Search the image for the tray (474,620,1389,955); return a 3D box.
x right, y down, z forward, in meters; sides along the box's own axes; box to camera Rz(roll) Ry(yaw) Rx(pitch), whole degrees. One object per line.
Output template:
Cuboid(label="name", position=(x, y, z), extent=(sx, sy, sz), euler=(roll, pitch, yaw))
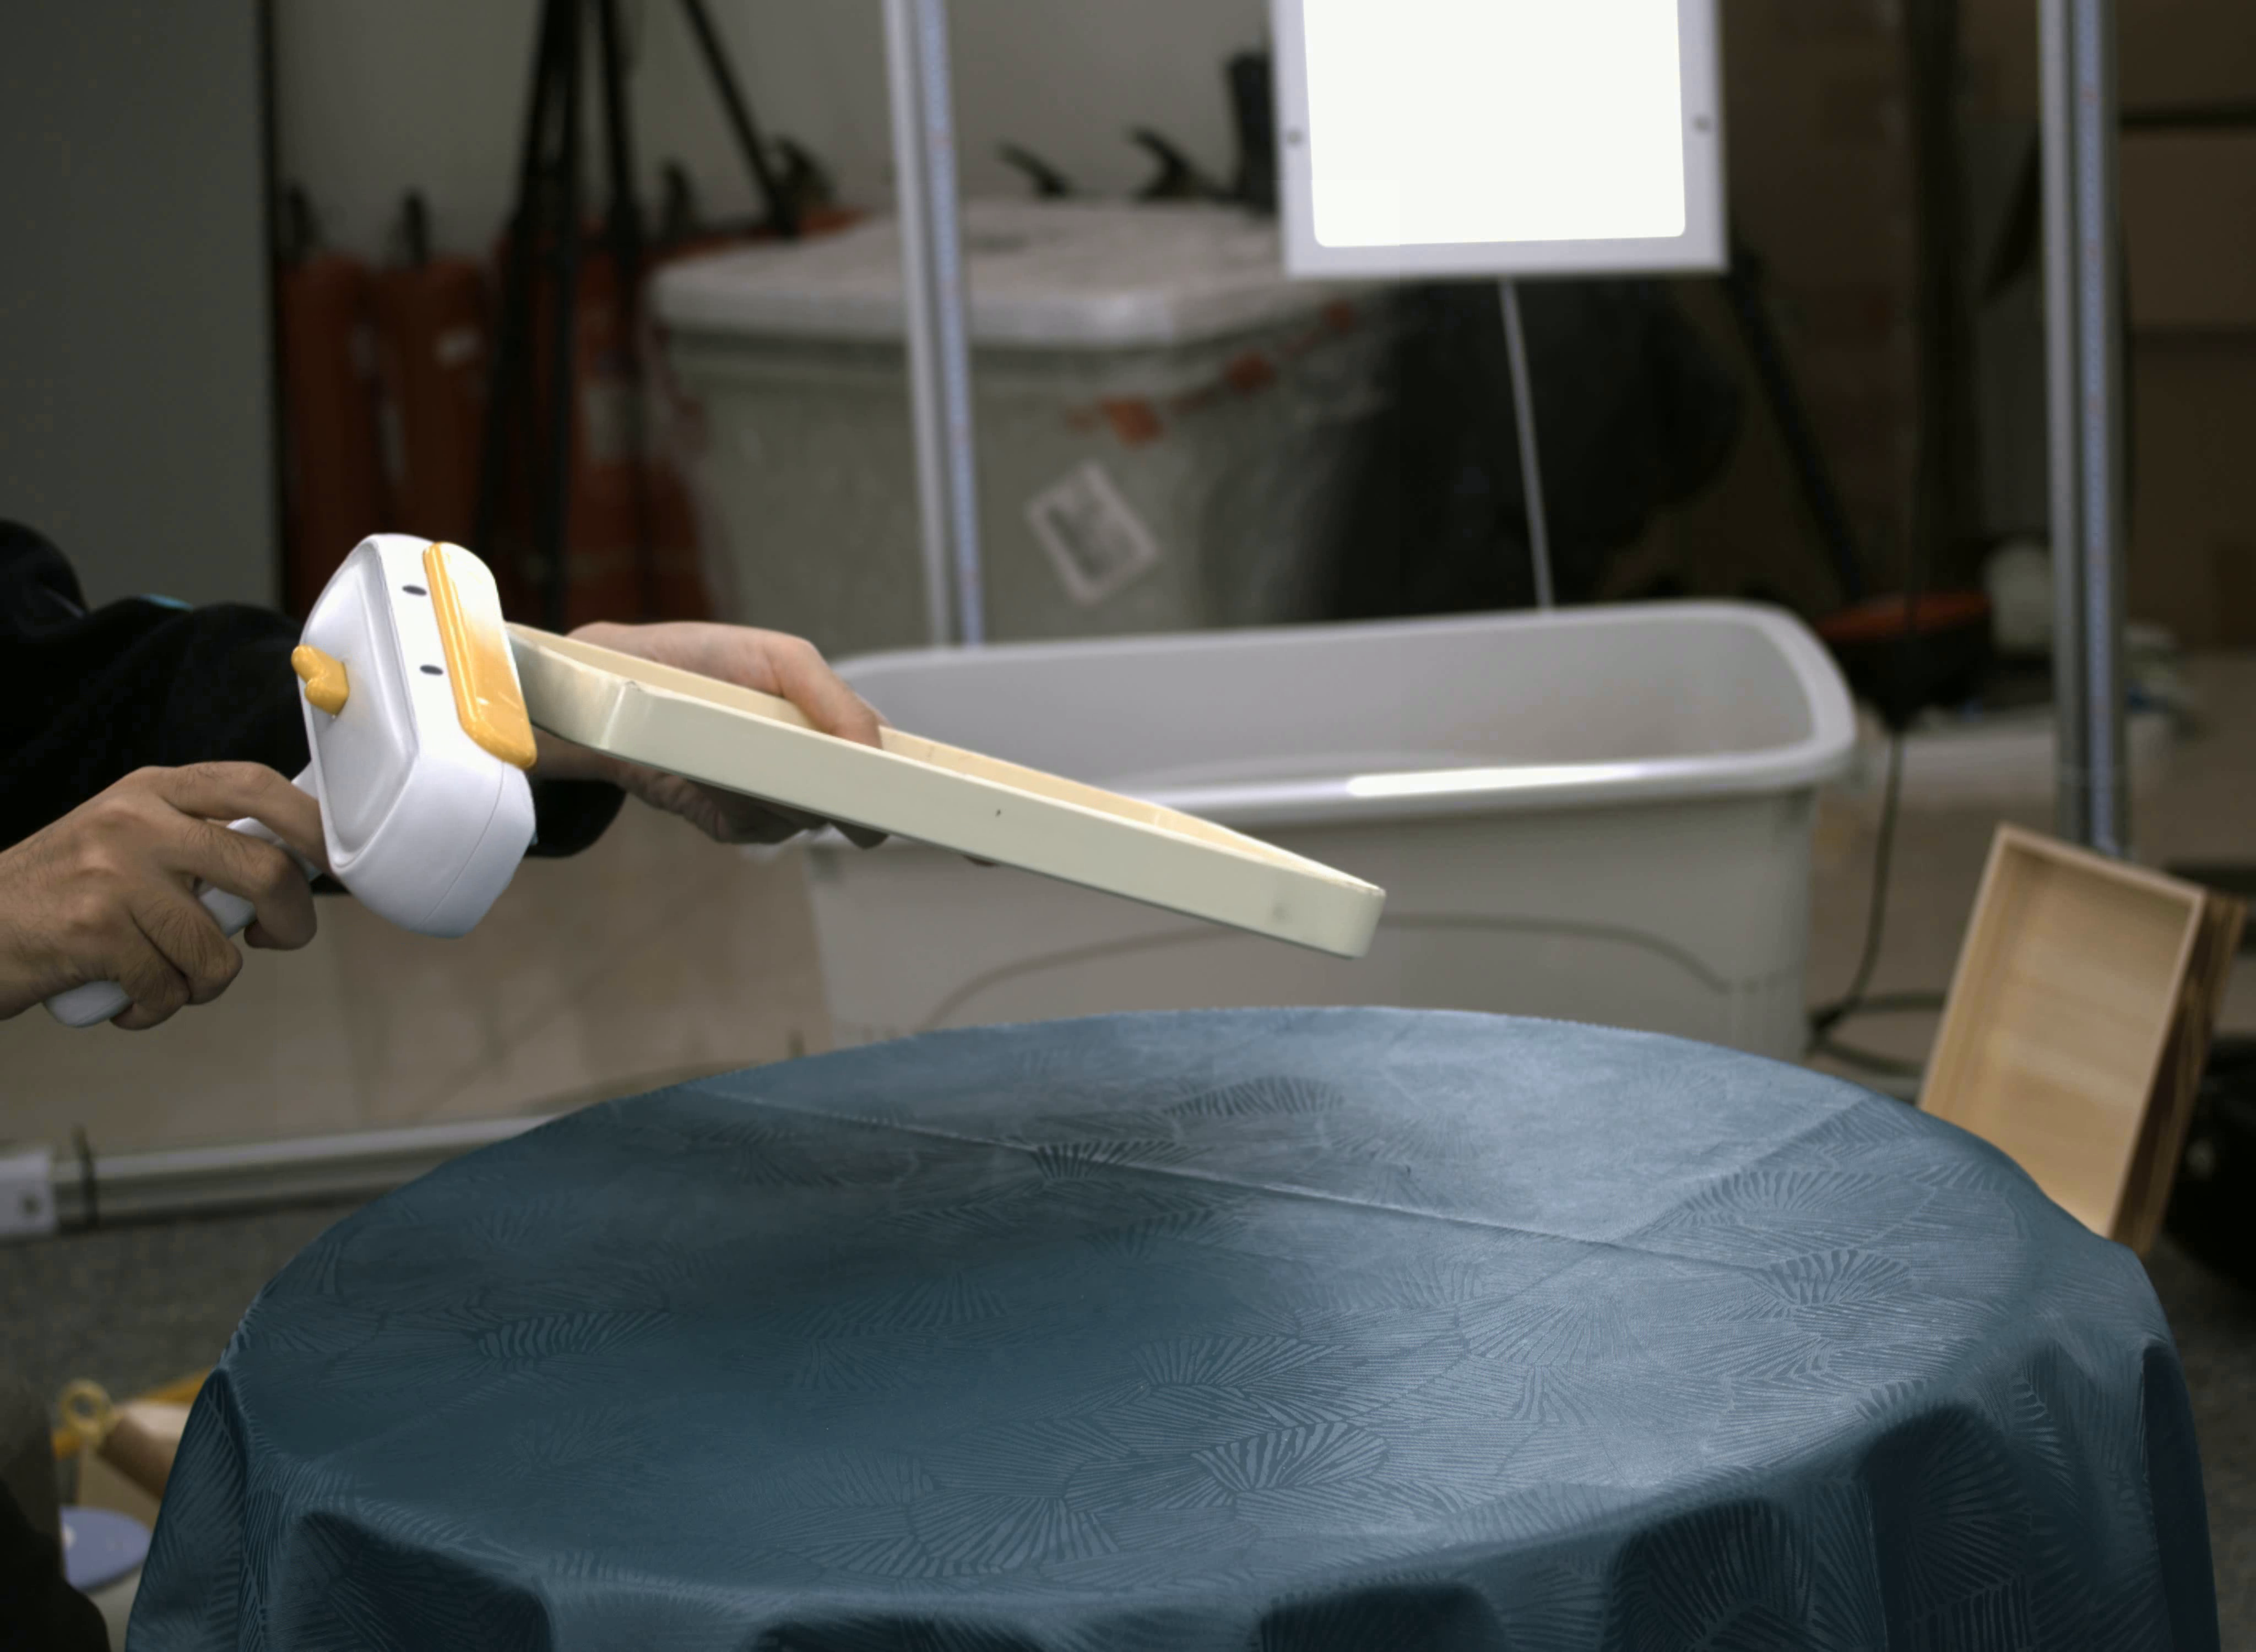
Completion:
Cuboid(label="tray", position=(-0.076, -0.014, 1.895), extent=(0.295, 0.027, 0.194), euler=(16, 1, -21))

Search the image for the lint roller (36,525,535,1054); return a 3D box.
Cuboid(label="lint roller", position=(-0.276, 0.005, 1.800), extent=(0.073, 0.194, 0.194), euler=(33, 14, -31))
